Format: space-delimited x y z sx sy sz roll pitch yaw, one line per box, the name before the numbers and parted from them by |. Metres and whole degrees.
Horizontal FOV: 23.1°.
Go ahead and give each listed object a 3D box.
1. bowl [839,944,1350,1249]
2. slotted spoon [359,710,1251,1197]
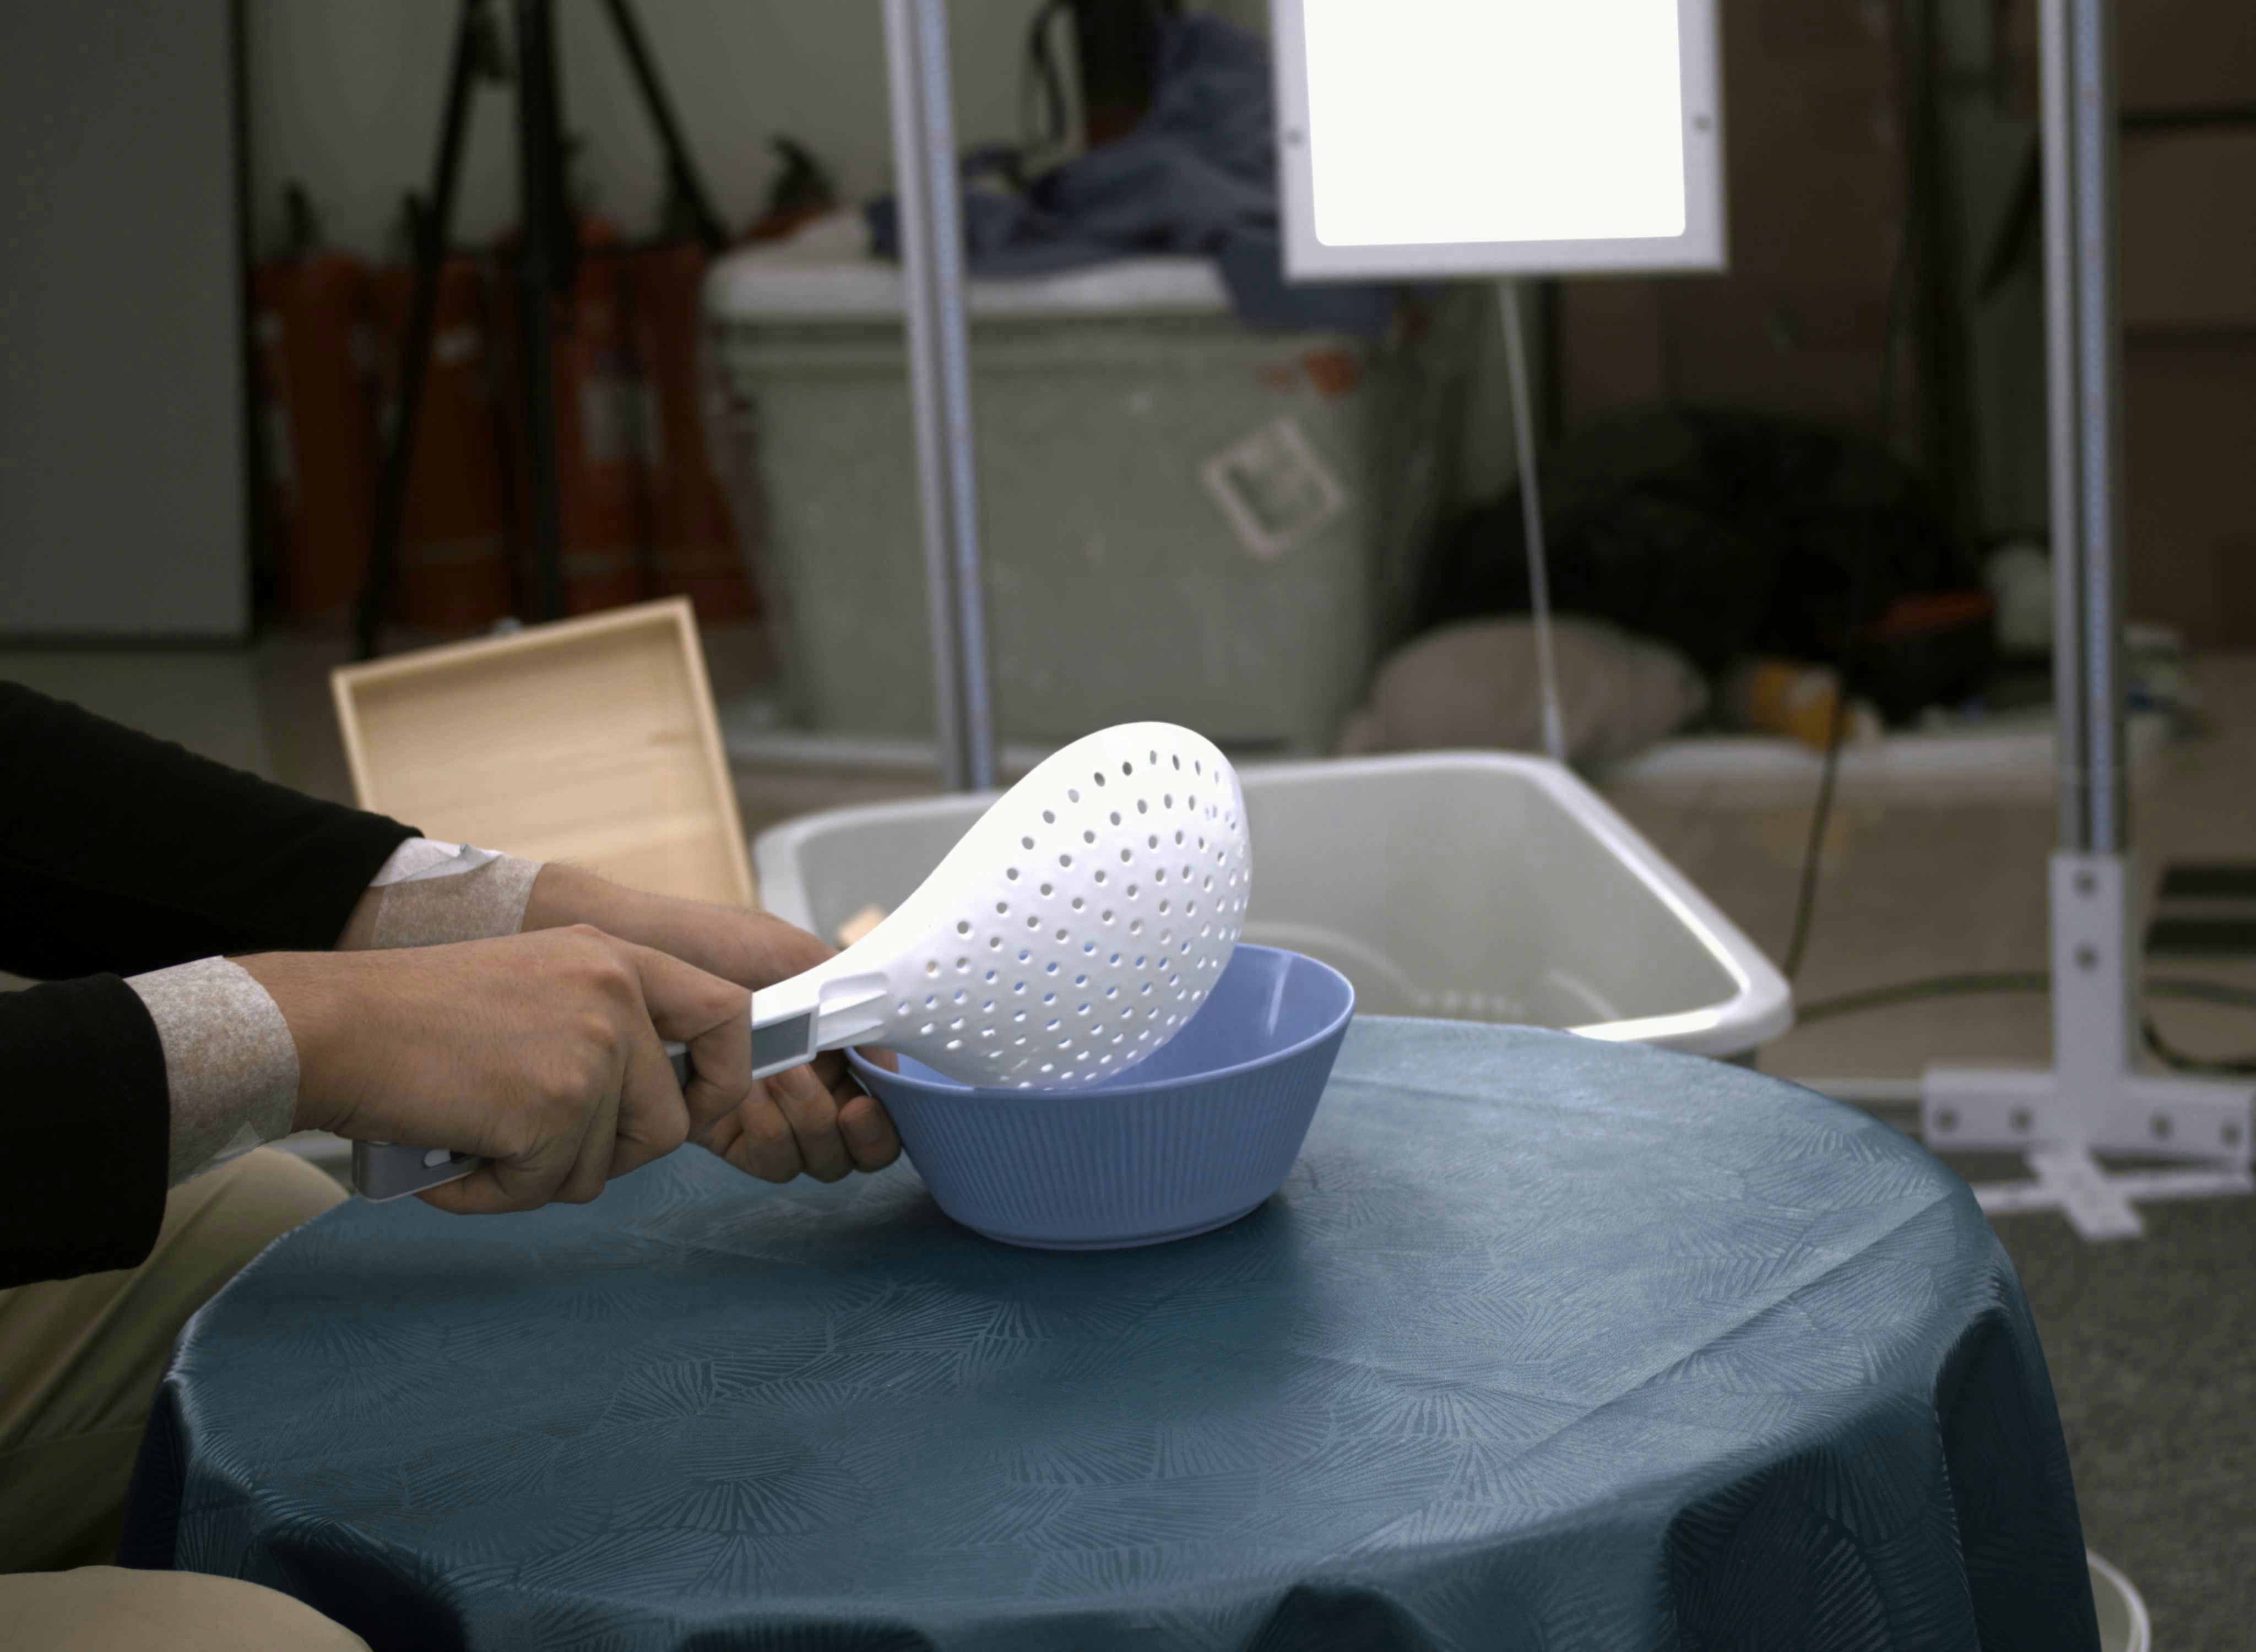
bowl | -0.009 0.095 1.881 0.175 0.070 0.176 -7 14 0
slotted spoon | -0.091 0.054 1.736 0.341 0.137 0.046 -14 33 -30
